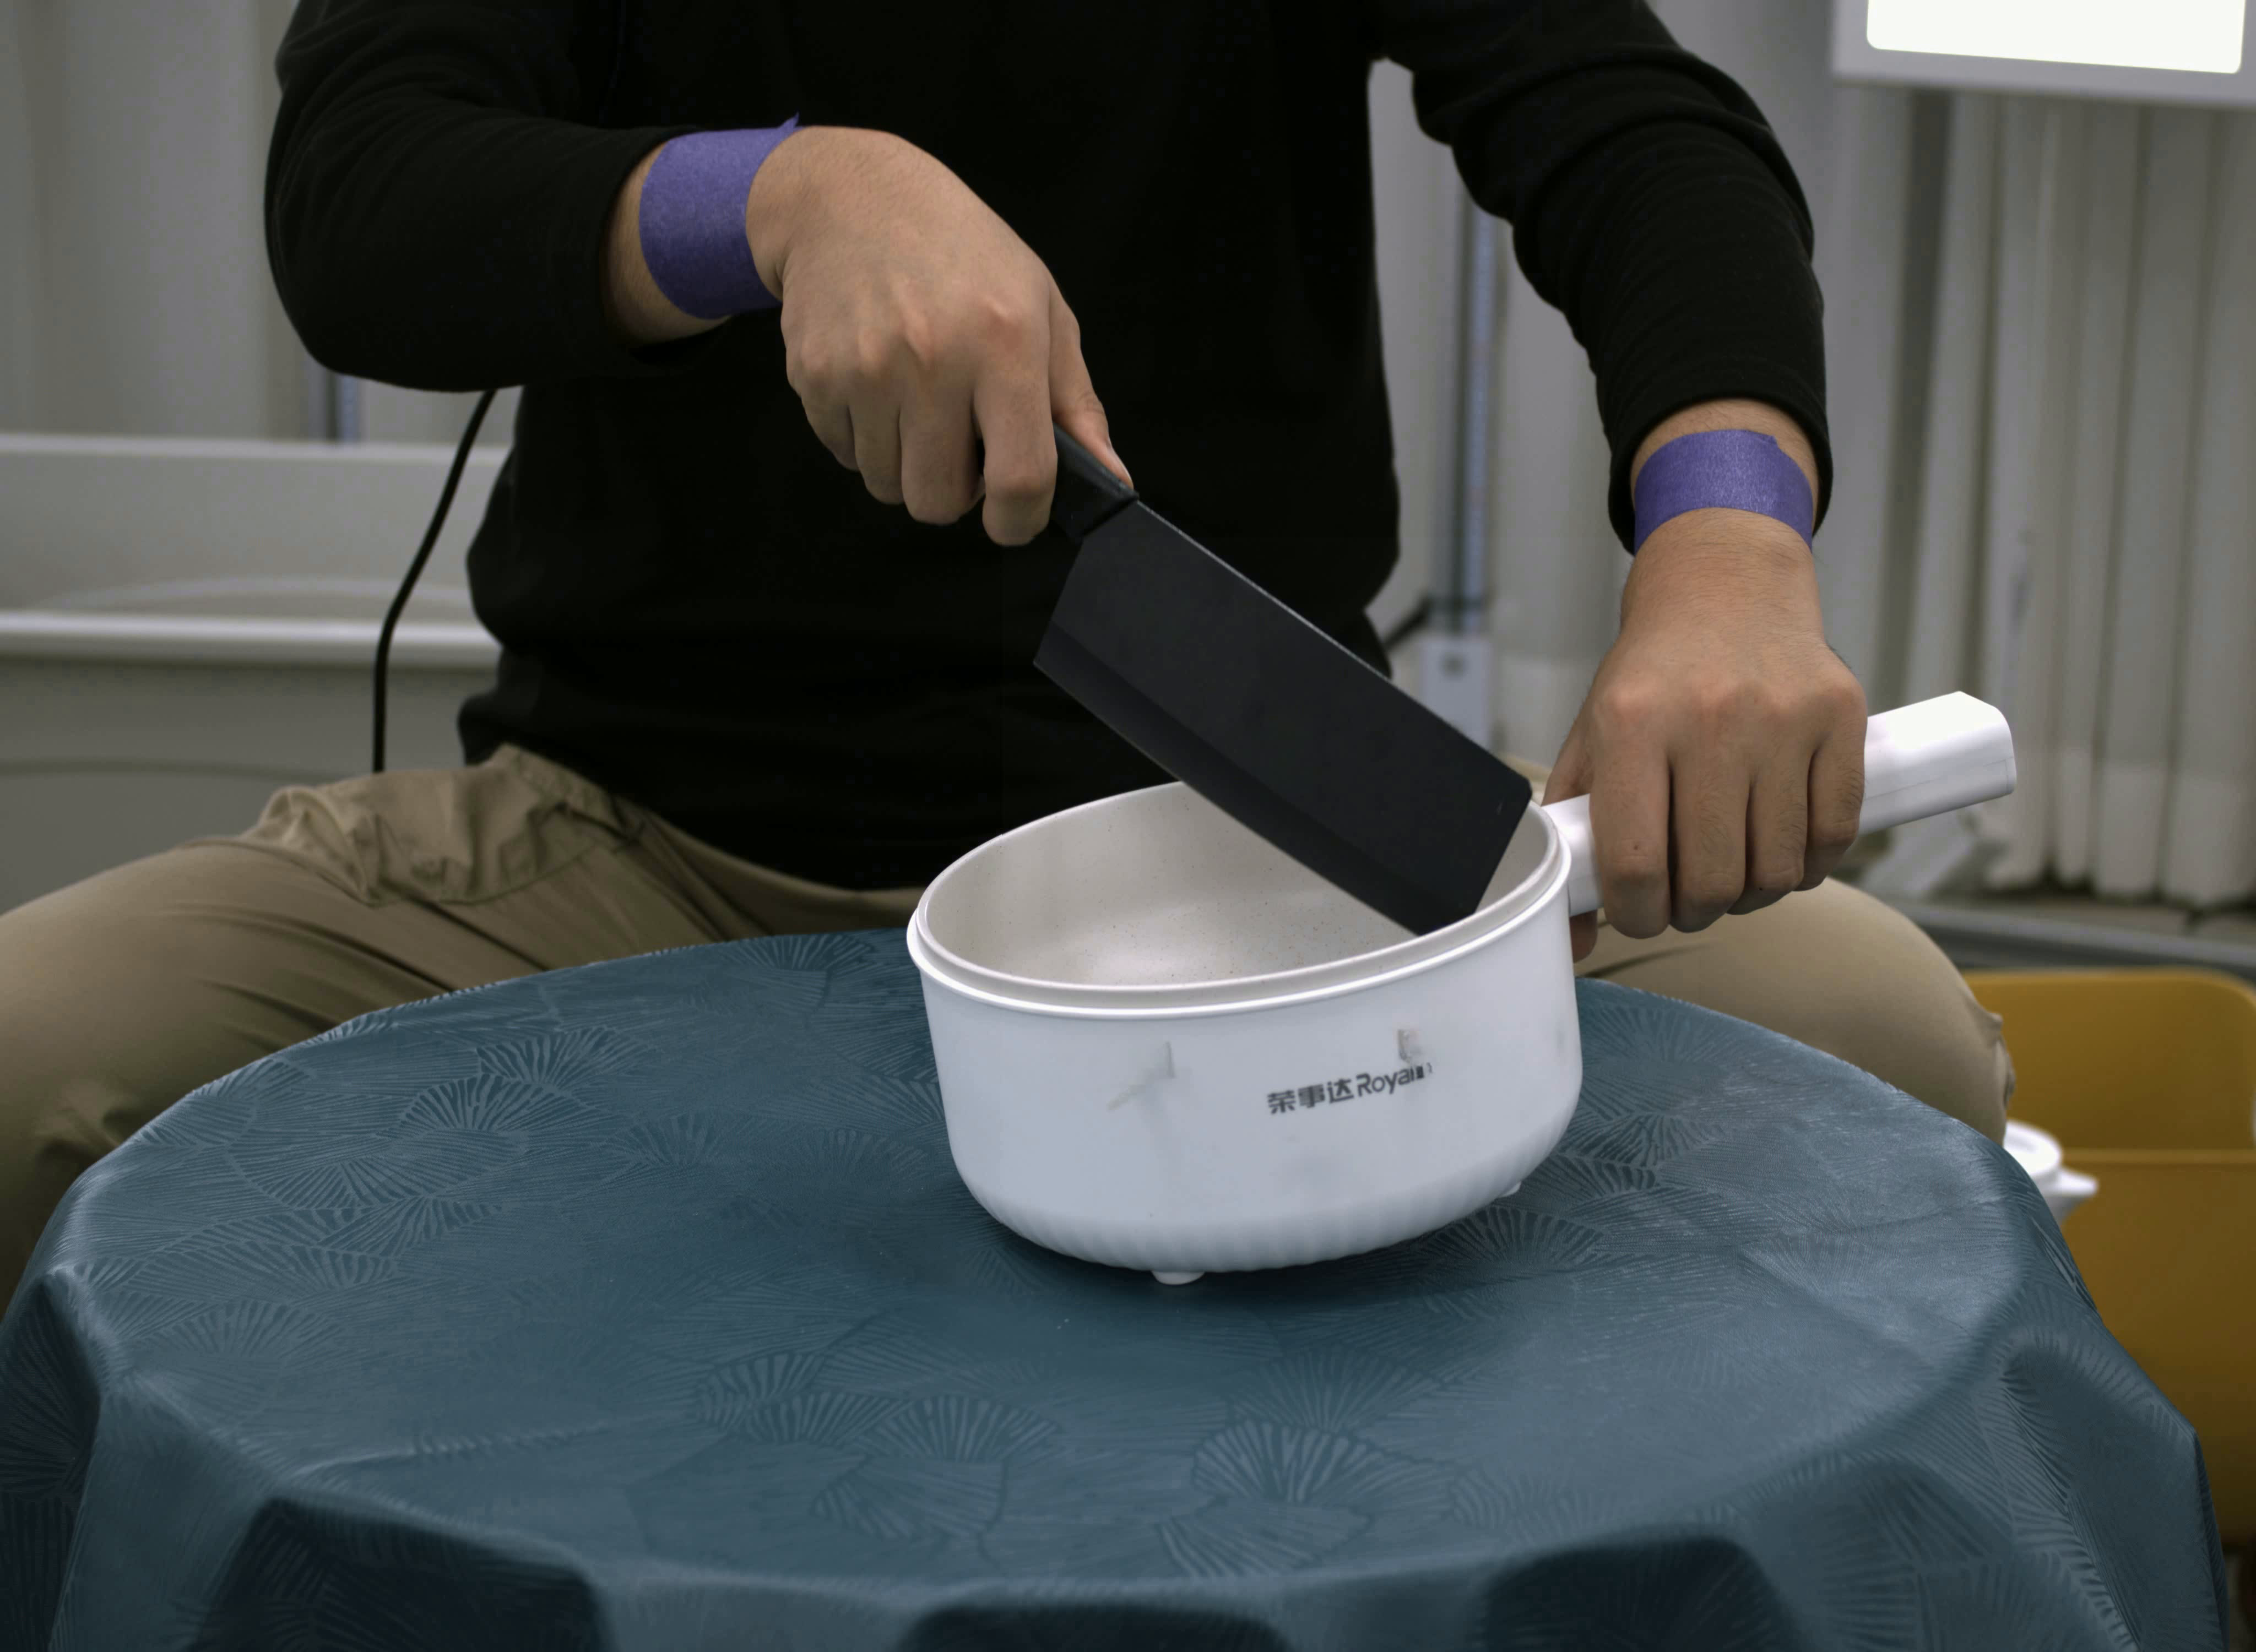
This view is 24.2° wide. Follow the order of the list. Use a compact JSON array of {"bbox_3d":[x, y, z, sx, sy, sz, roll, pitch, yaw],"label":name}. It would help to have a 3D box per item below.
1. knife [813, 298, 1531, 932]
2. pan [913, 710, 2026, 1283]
[{"bbox_3d":[0.006,-0.070,1.613,0.299,0.081,0.021,42,27,27],"label":"knife"},{"bbox_3d":[0.111,0.046,1.617,0.355,0.103,0.199,-12,18,-18],"label":"pan"}]
